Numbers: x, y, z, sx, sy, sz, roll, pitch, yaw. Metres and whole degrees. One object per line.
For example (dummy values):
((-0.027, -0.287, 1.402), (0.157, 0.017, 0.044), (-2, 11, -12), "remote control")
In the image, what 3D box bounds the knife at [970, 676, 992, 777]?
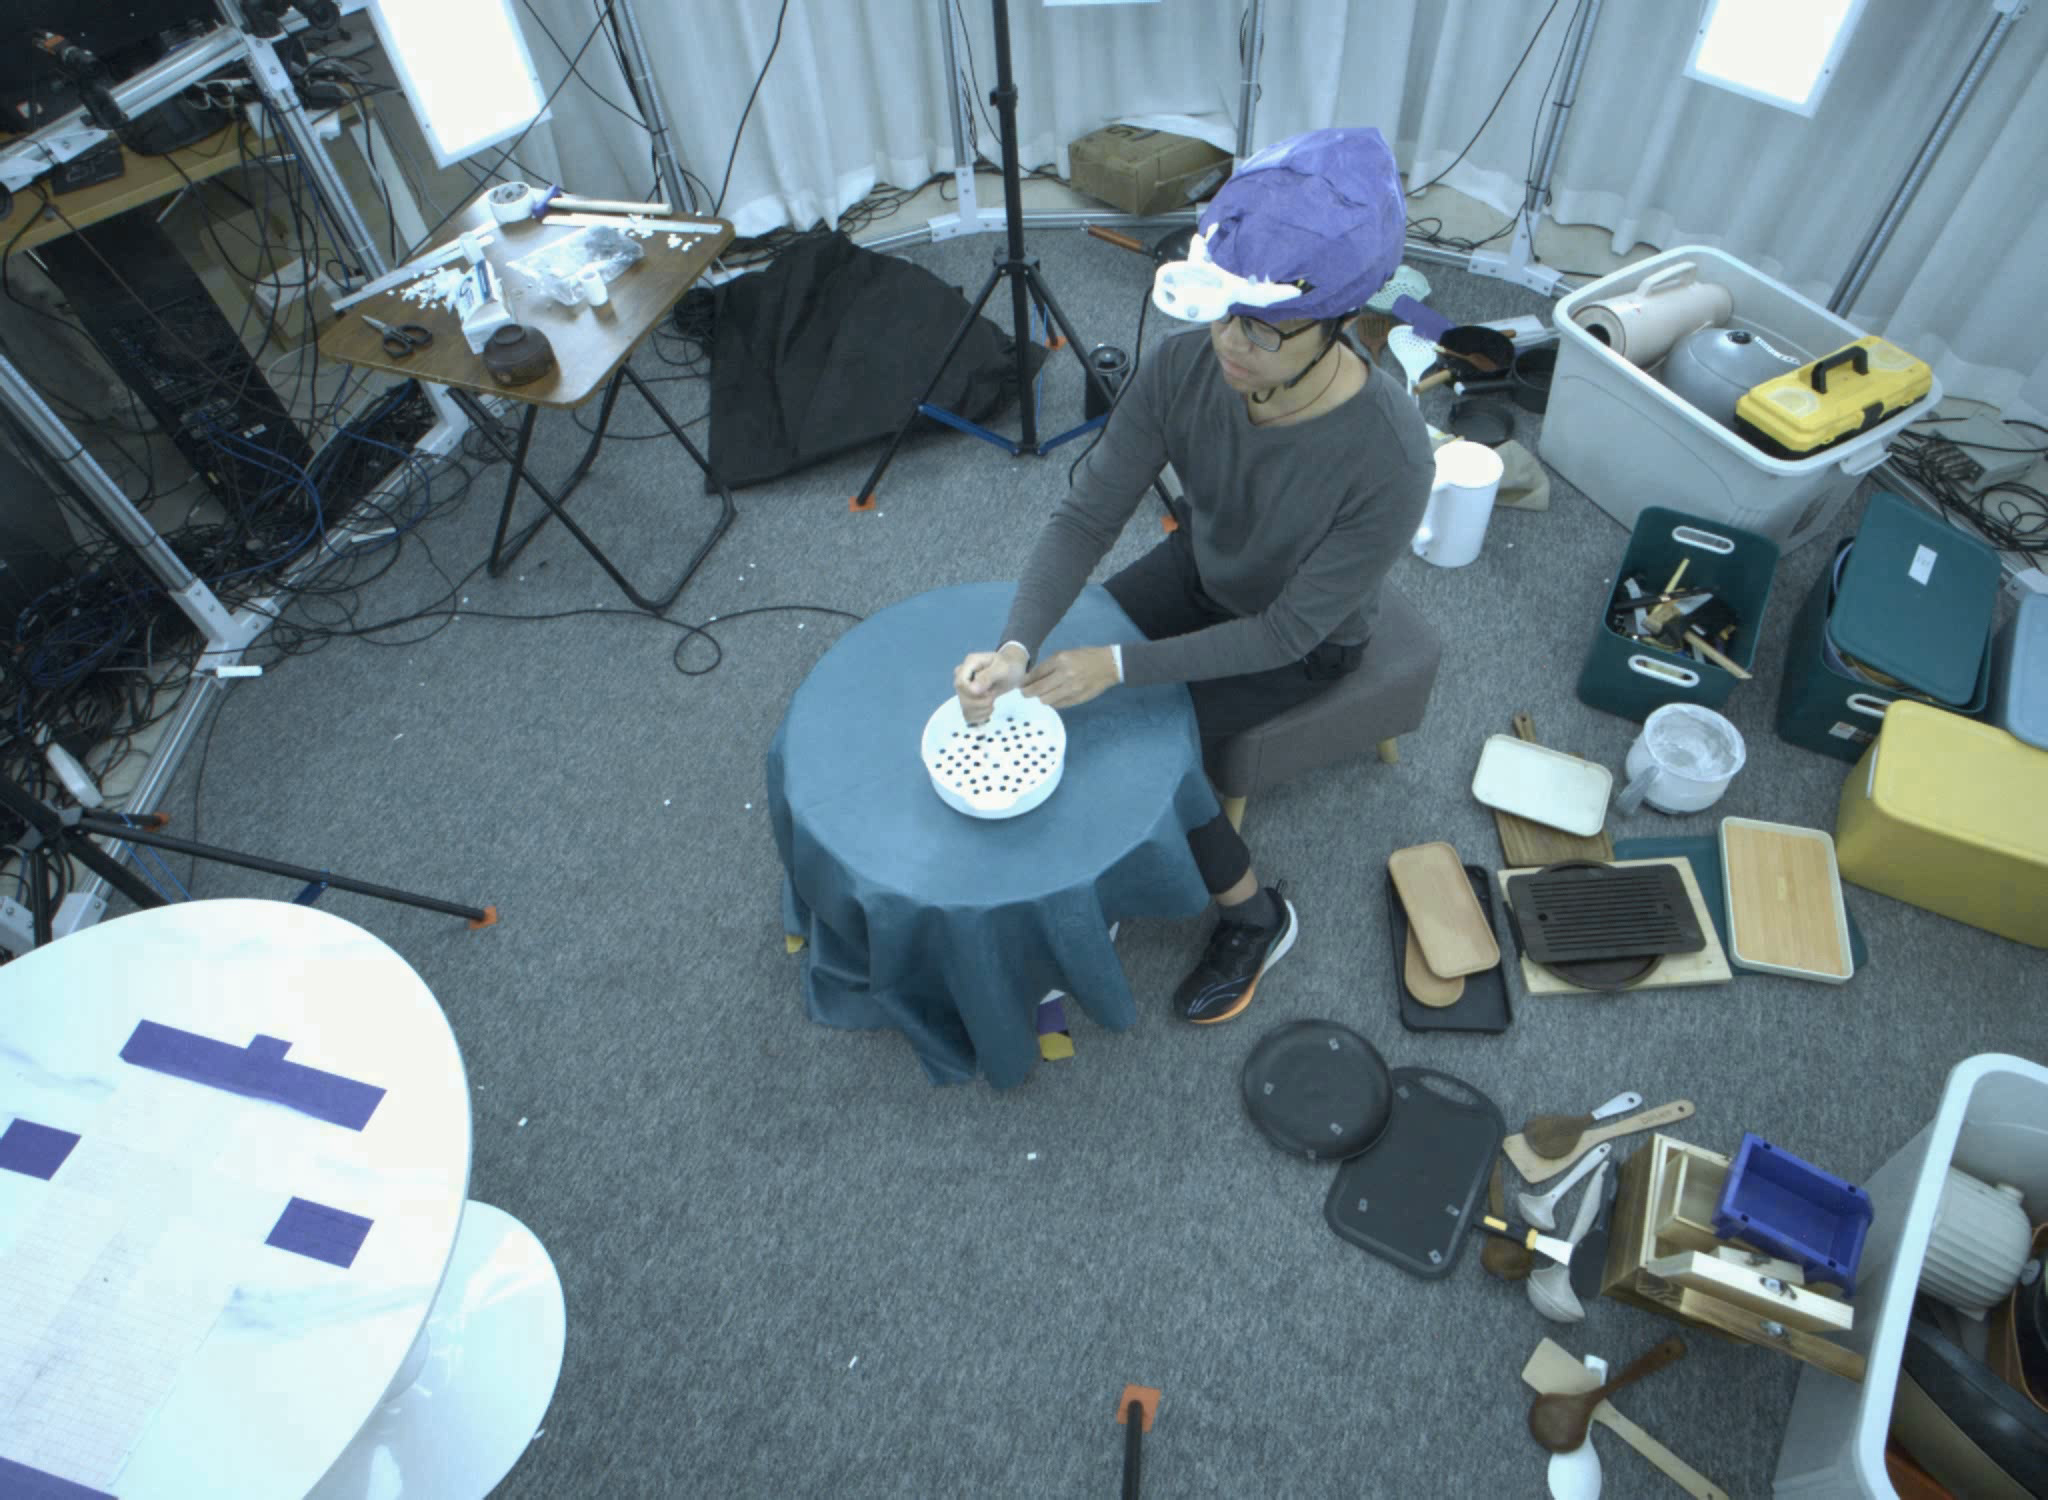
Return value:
((-0.054, -0.029, 1.654), (0.016, 0.241, 0.024), (8, 59, 9), "knife")

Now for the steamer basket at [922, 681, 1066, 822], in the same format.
((-0.041, 0.007, 1.749), (0.202, 0.070, 0.228), (0, 54, 1), "steamer basket")
